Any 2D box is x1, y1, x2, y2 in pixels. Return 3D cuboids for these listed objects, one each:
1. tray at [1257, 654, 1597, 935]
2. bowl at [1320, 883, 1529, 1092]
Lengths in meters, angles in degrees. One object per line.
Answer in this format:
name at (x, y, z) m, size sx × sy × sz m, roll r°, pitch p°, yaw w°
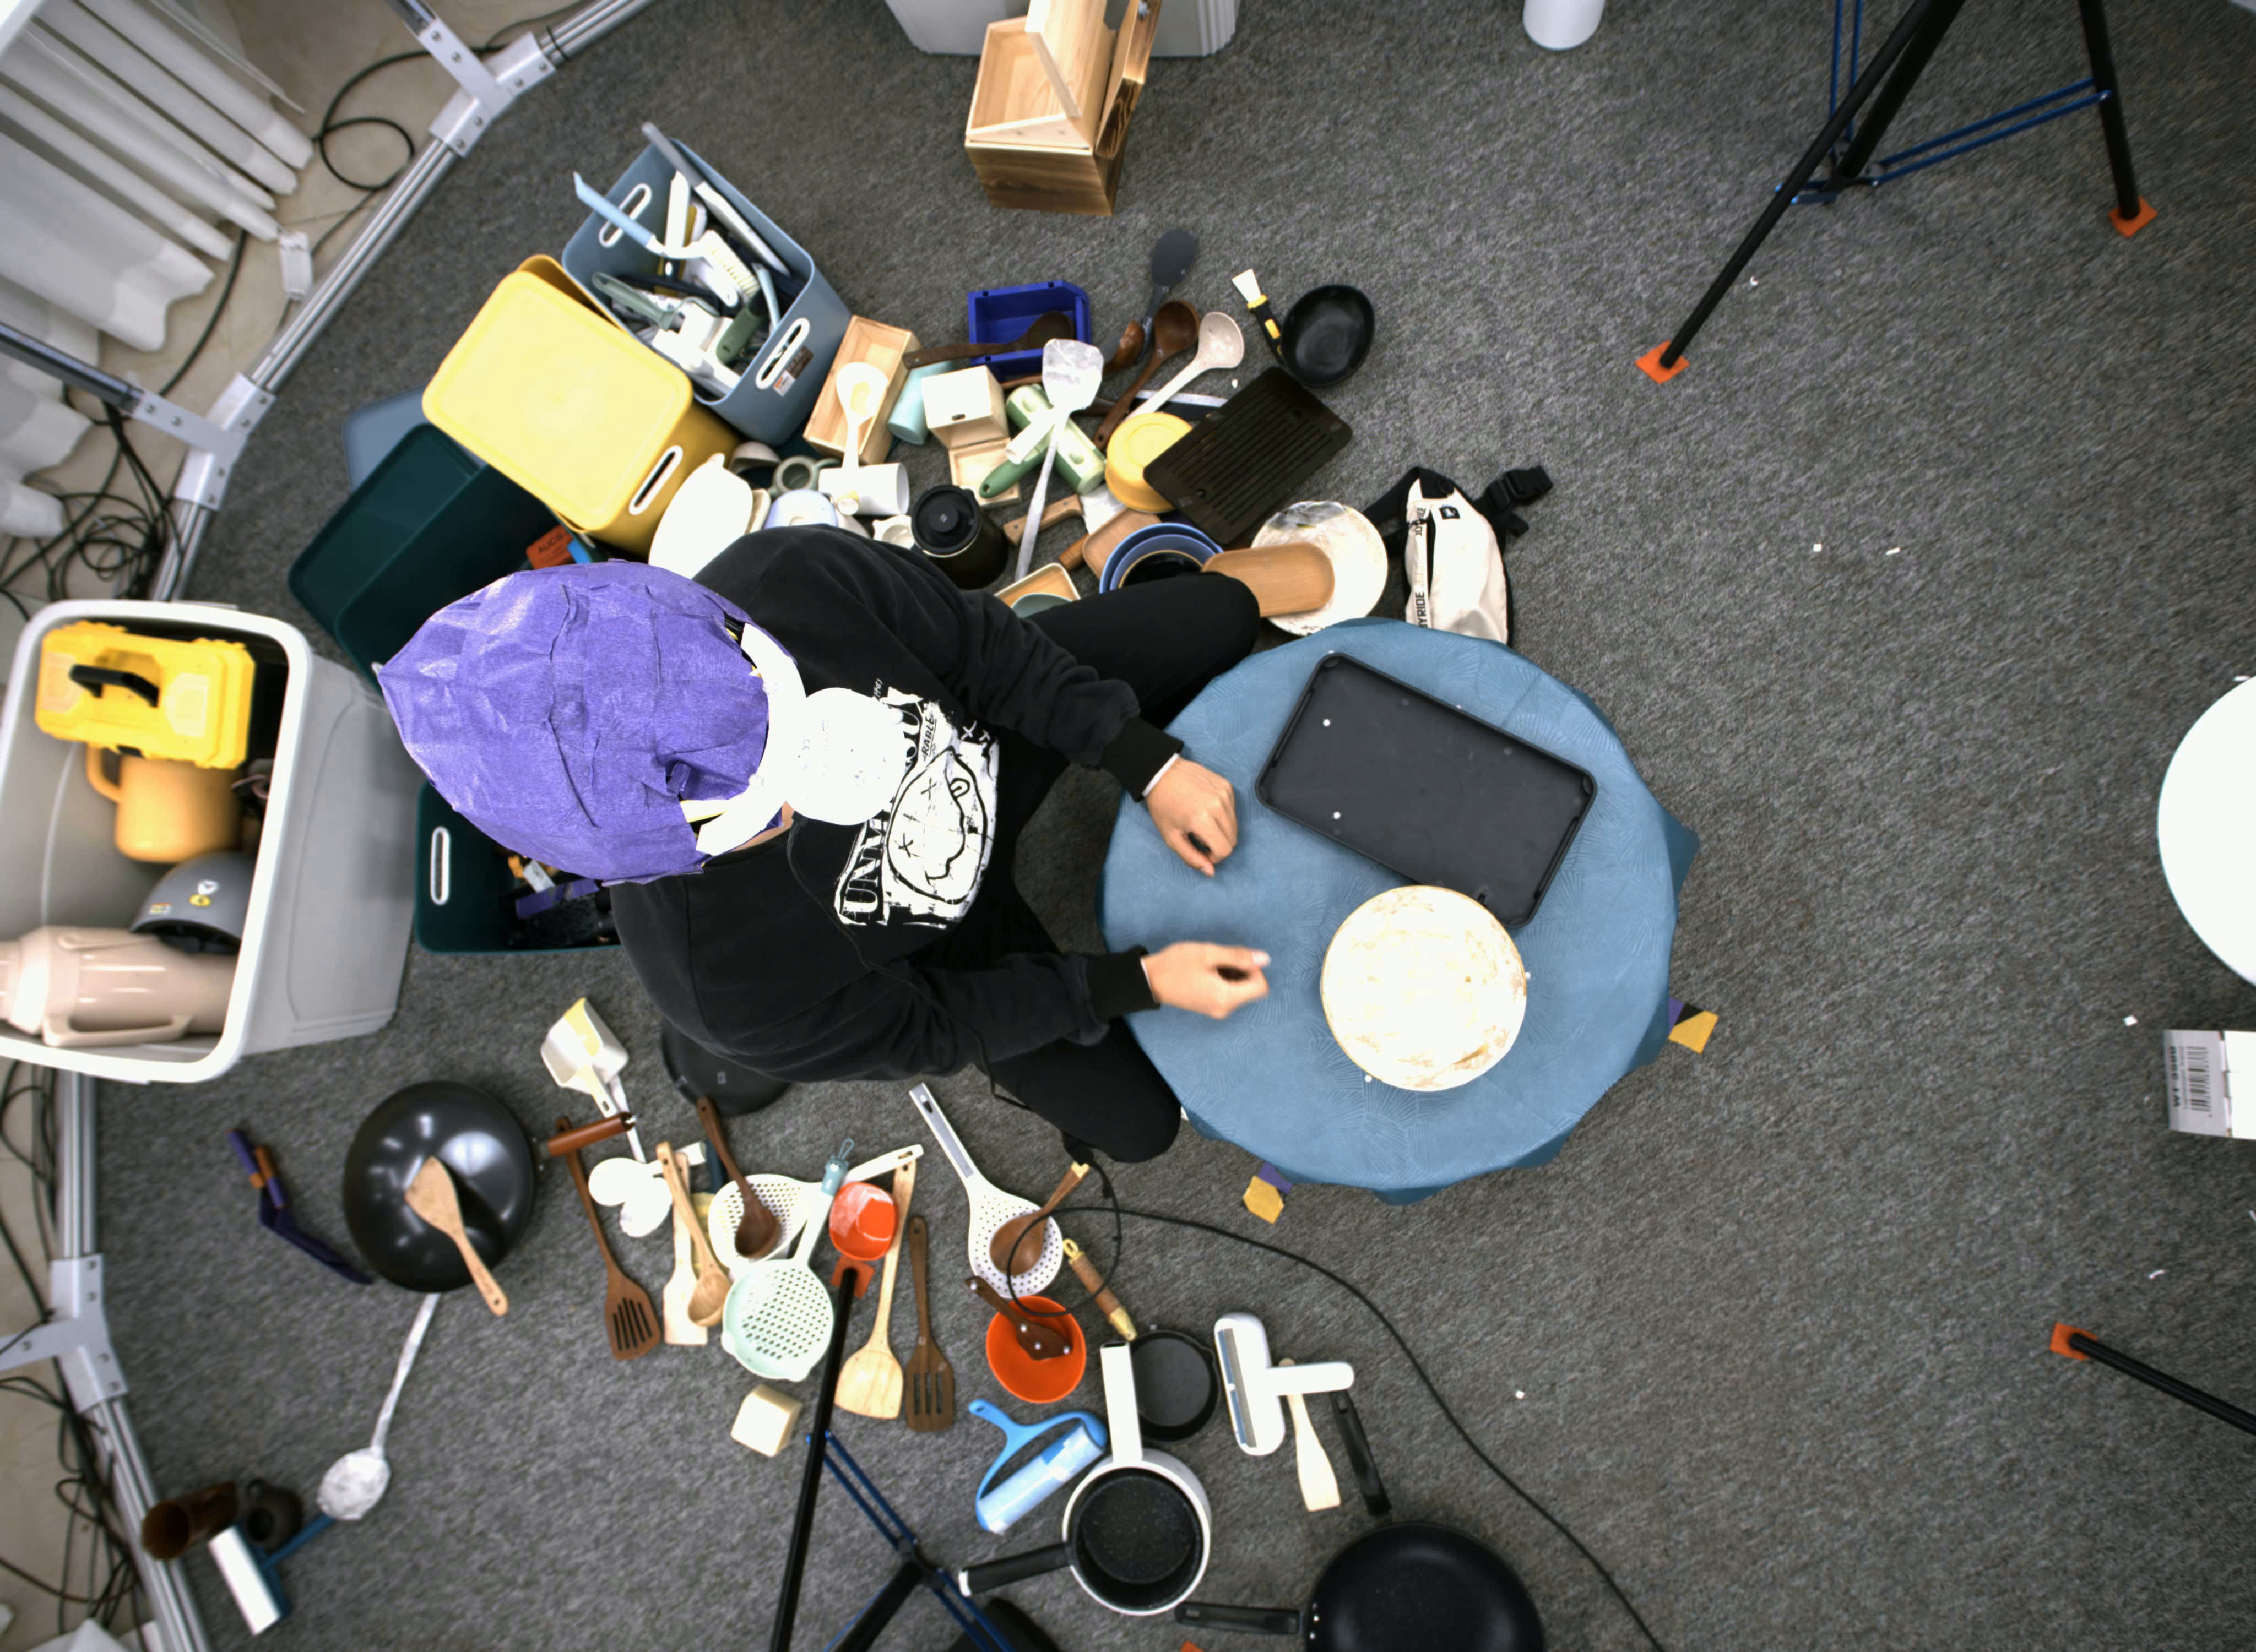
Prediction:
tray at (0.311, -0.035, 1.449) m, size 0.317 × 0.037 × 0.184 m, roll 29°, pitch 91°, yaw 9°
bowl at (0.300, 0.159, 1.405) m, size 0.215 × 0.094 × 0.214 m, roll -1°, pitch 87°, yaw 11°
